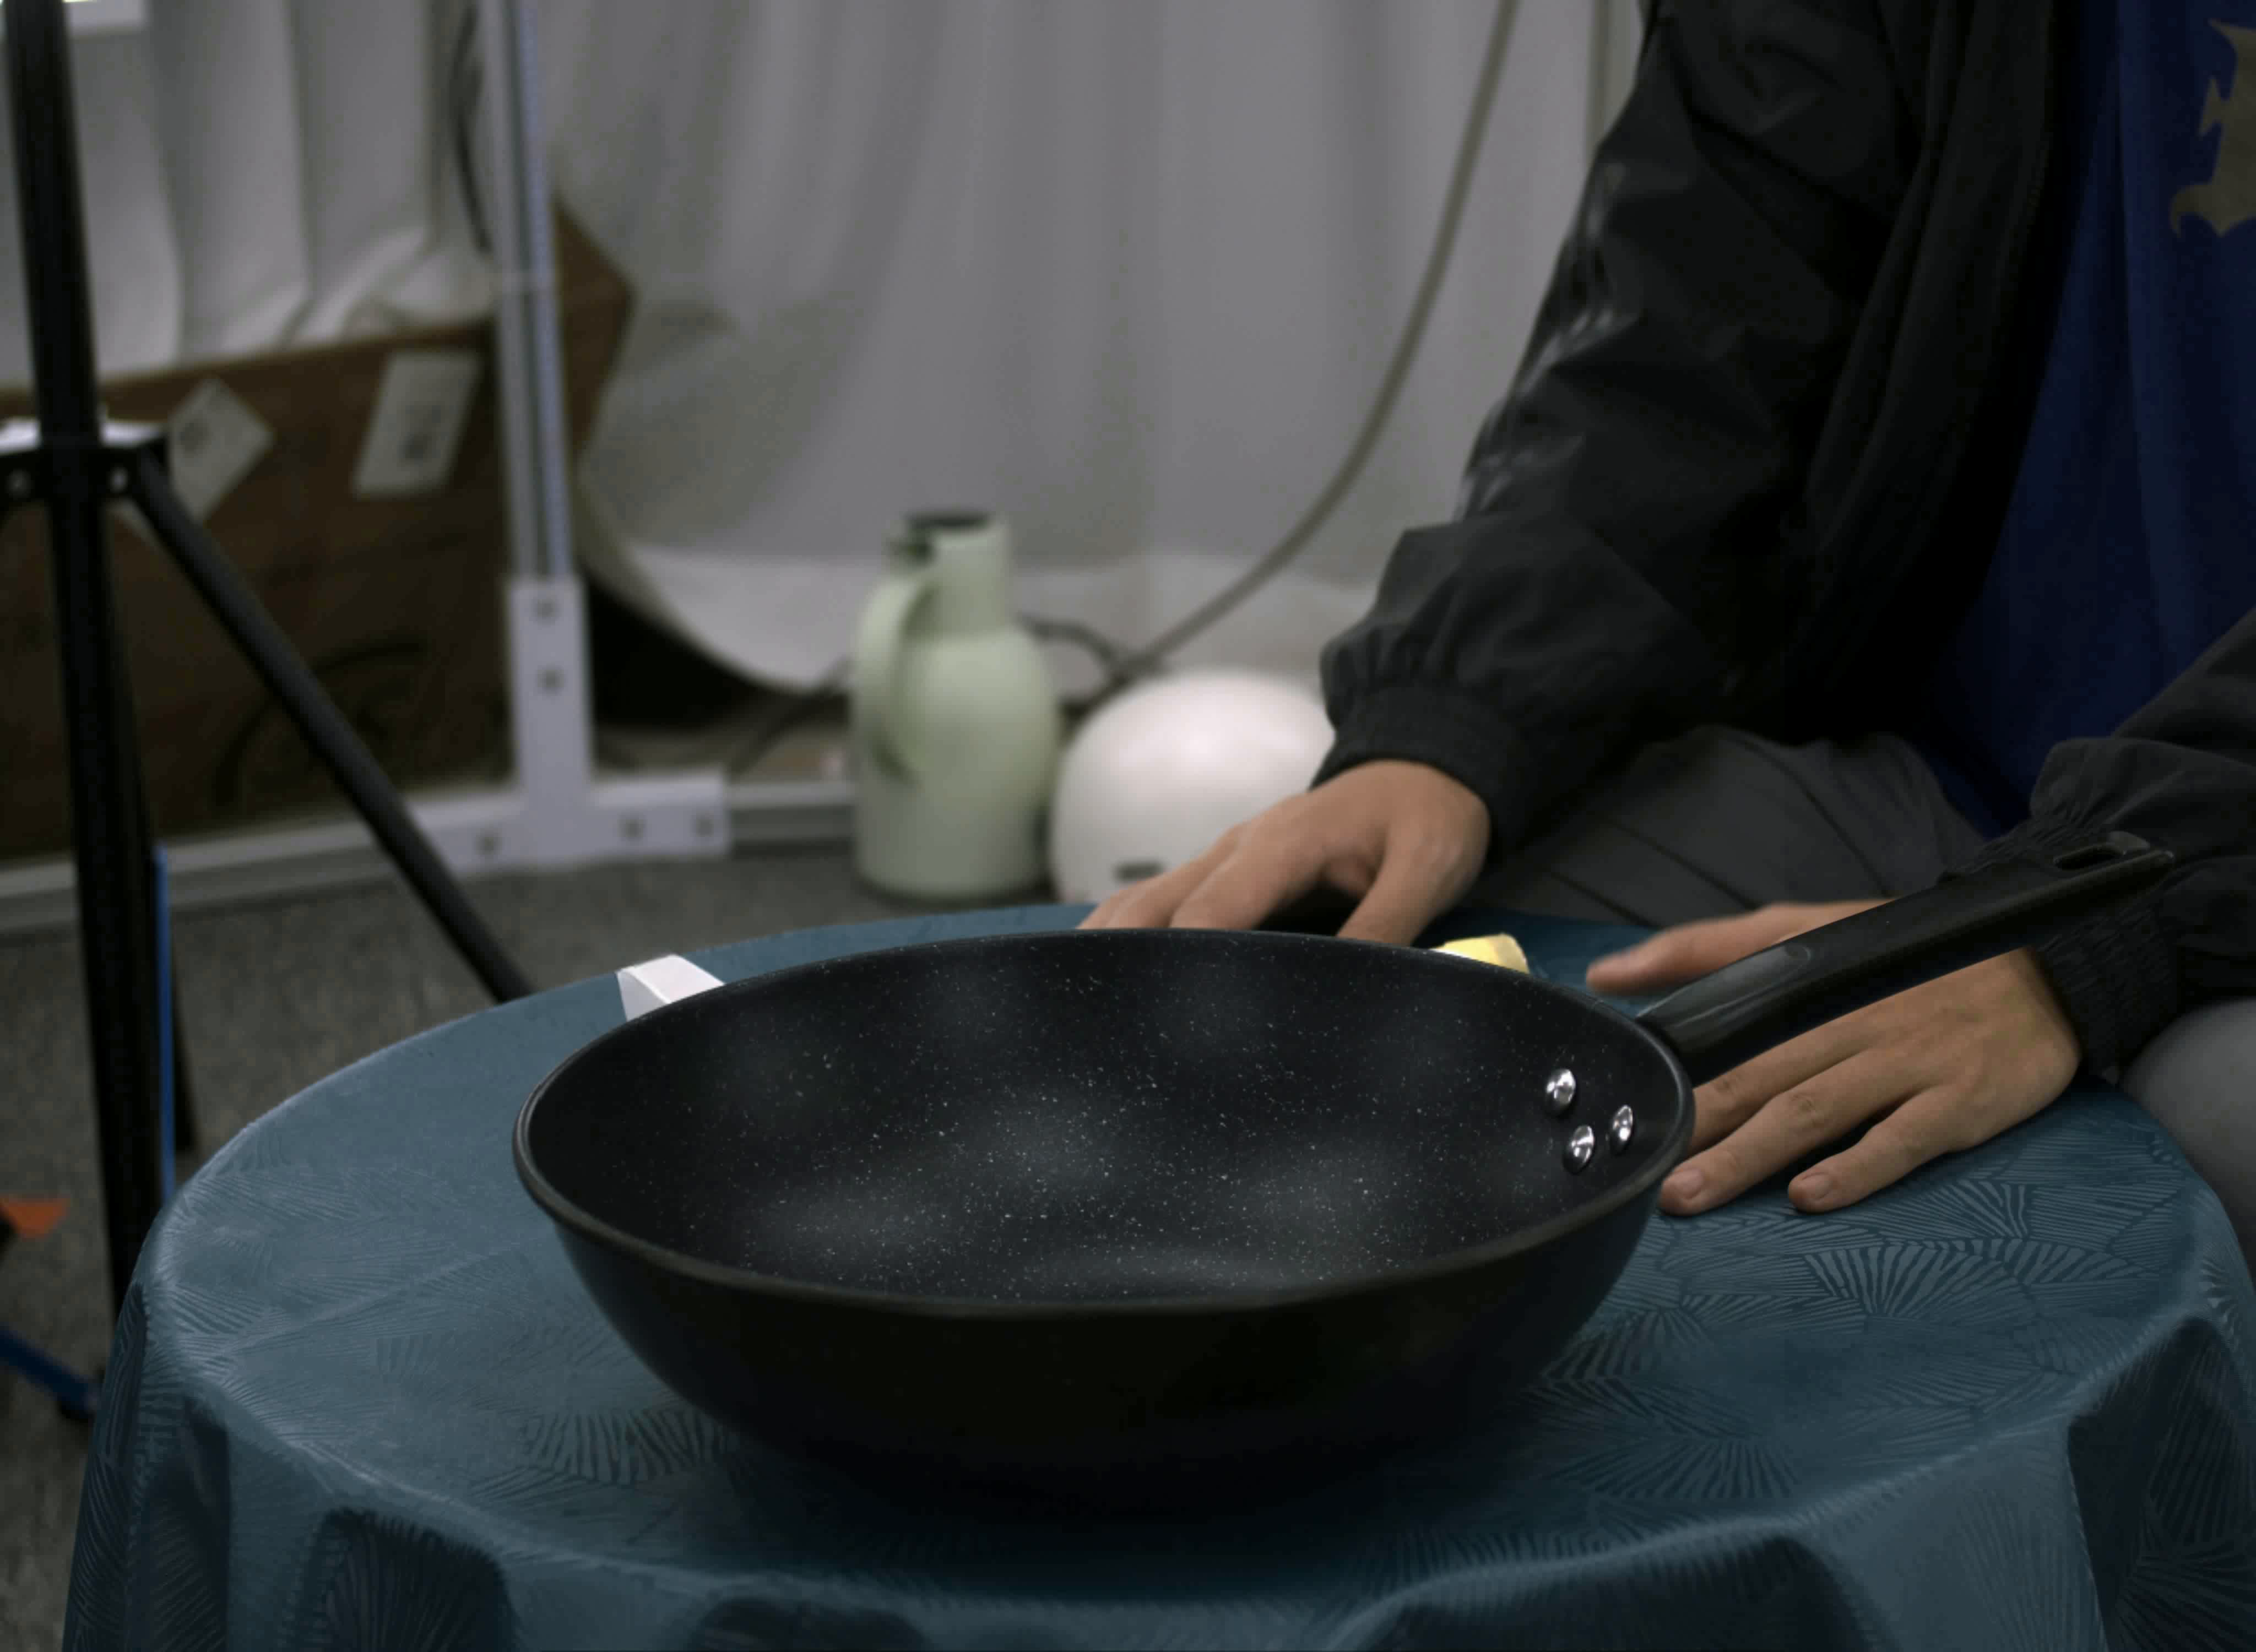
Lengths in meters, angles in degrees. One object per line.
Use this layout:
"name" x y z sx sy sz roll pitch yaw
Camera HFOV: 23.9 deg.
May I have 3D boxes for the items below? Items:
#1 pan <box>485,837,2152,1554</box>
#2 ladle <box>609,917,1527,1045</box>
"pan" 0.066 0.092 1.412 0.468 0.111 0.316 -9 19 -19
"ladle" -0.016 0.052 1.645 0.288 0.070 0.091 -4 12 -13
